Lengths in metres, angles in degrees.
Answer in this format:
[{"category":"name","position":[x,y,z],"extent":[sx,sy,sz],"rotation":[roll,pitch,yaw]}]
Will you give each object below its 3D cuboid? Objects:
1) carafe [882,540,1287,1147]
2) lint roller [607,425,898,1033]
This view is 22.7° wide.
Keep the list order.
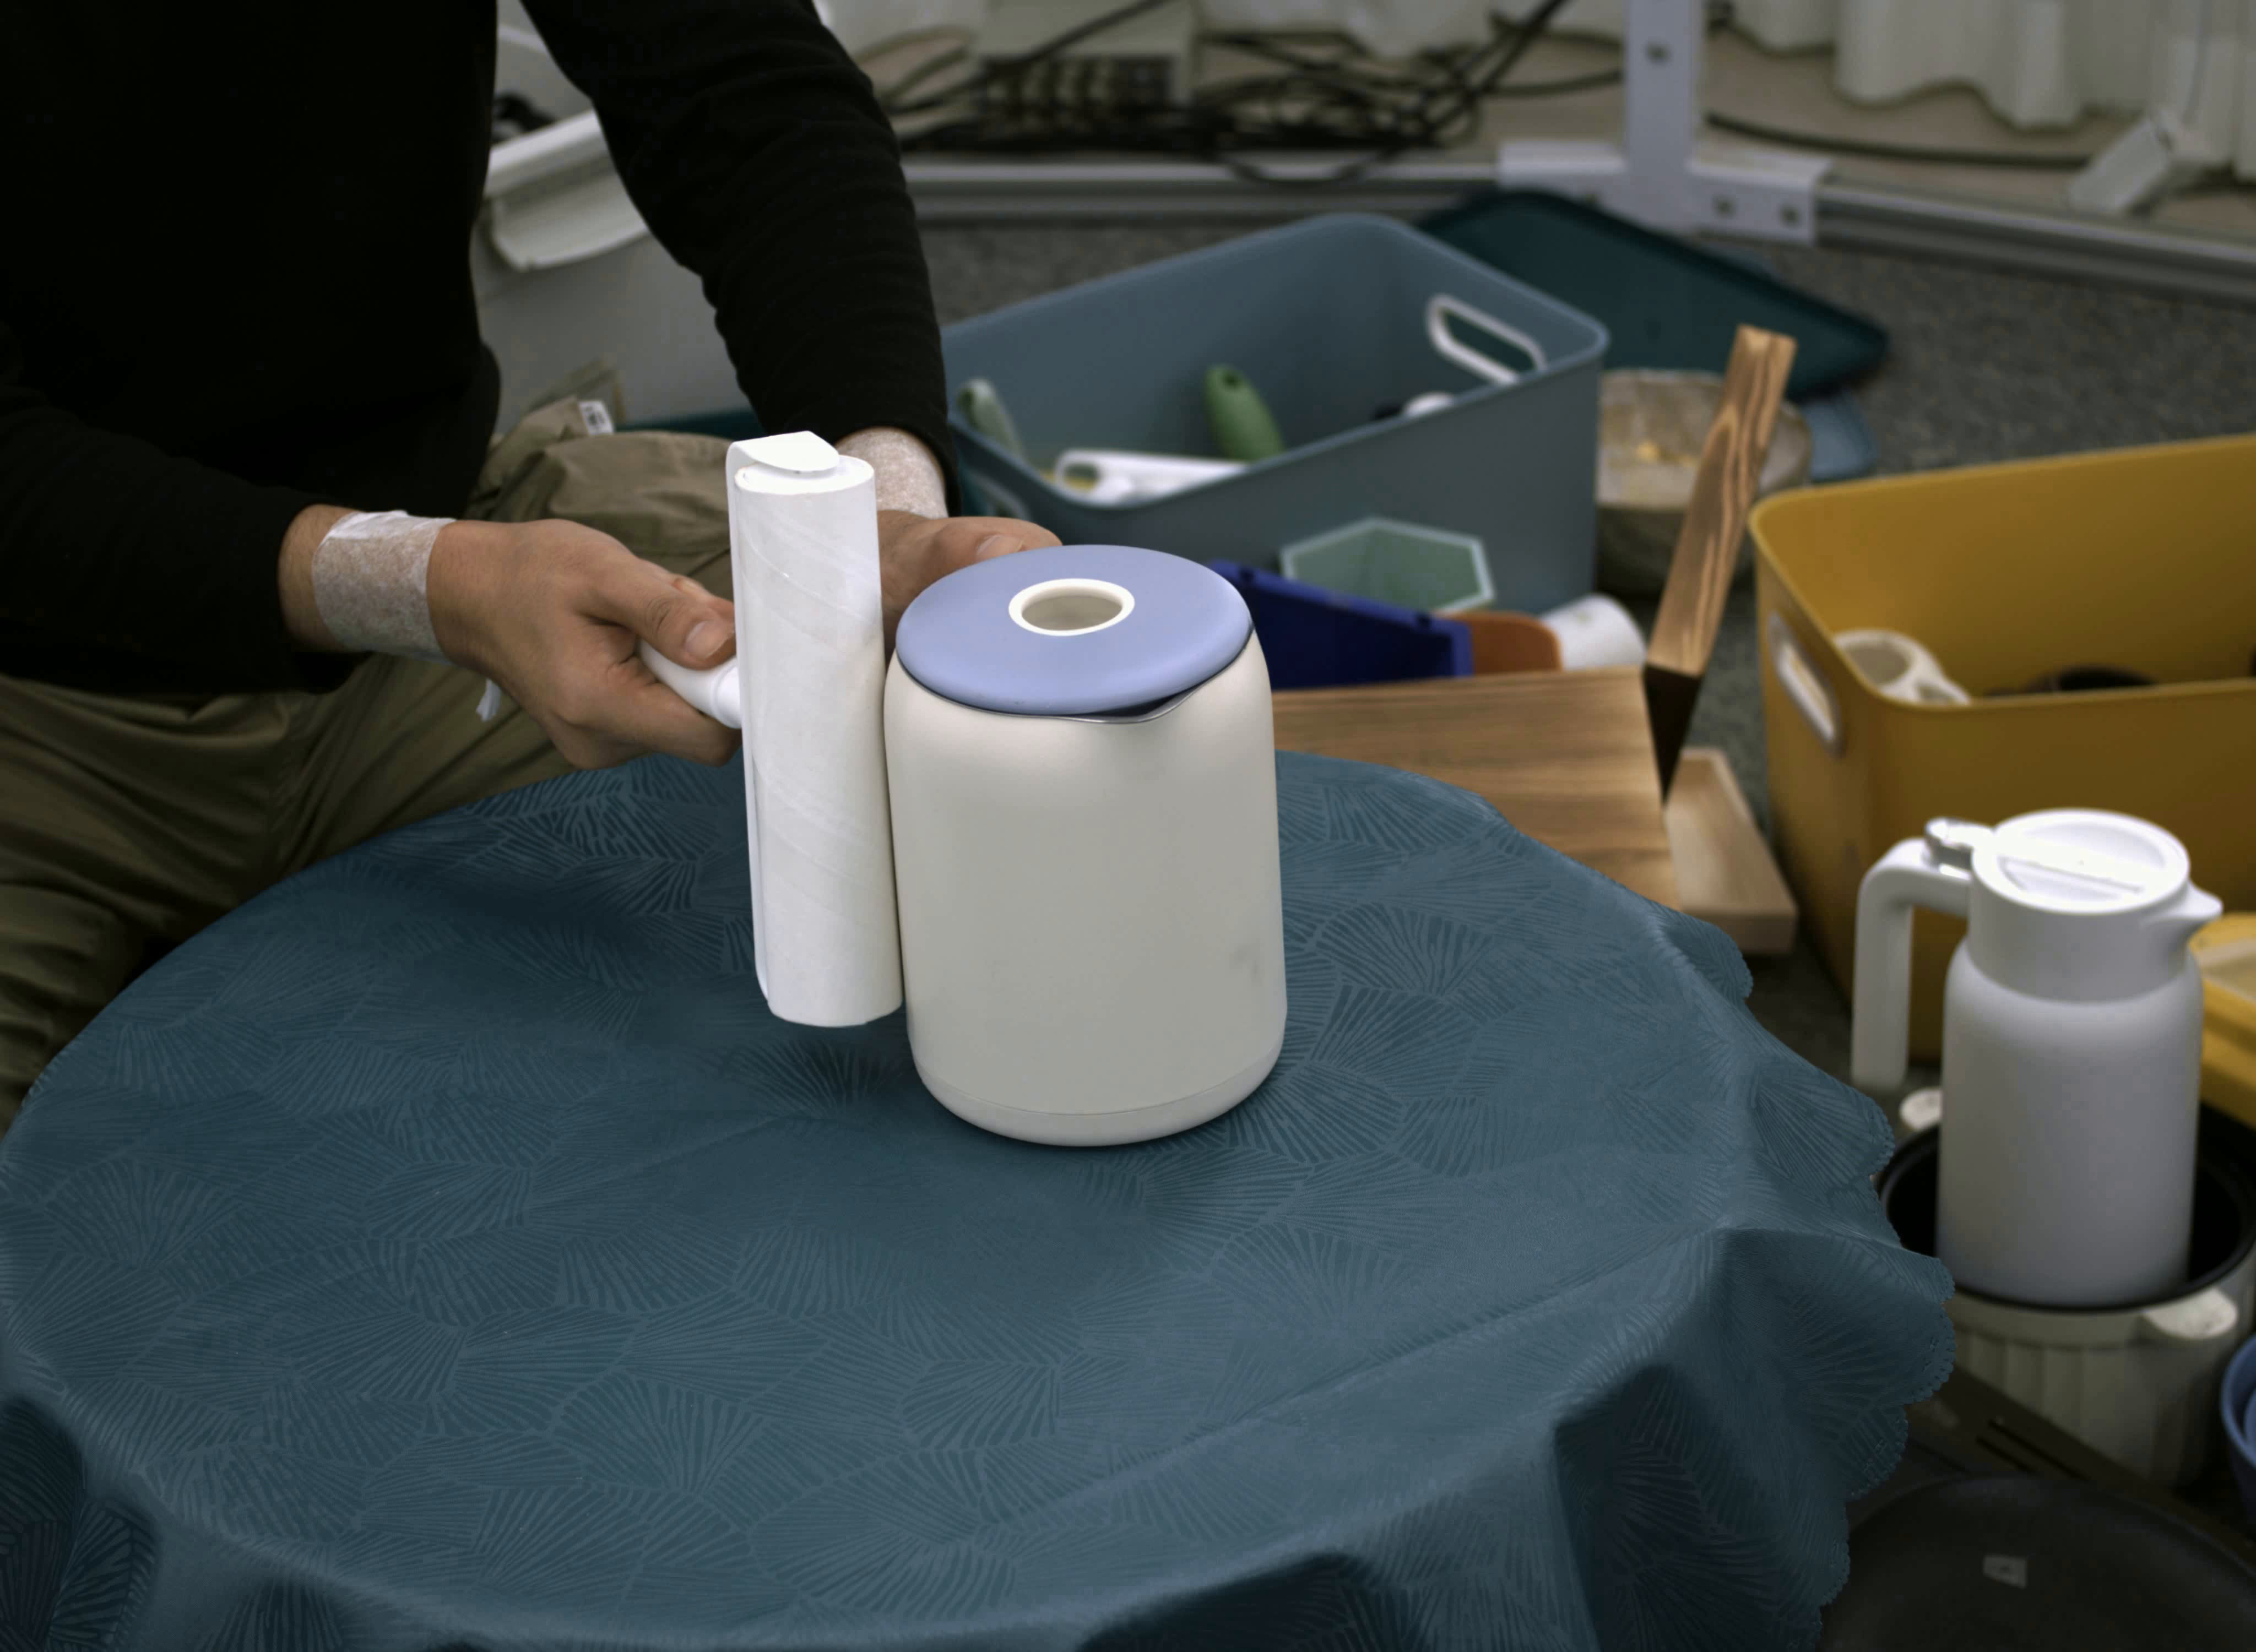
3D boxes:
[{"category":"carafe","position":[-0.024,-0.004,1.923],"extent":[0.132,0.181,0.192],"rotation":[-12,26,-19]},{"category":"lint roller","position":[-0.145,-0.051,1.972],"extent":[0.048,0.201,0.226],"rotation":[-12,19,-23]}]
